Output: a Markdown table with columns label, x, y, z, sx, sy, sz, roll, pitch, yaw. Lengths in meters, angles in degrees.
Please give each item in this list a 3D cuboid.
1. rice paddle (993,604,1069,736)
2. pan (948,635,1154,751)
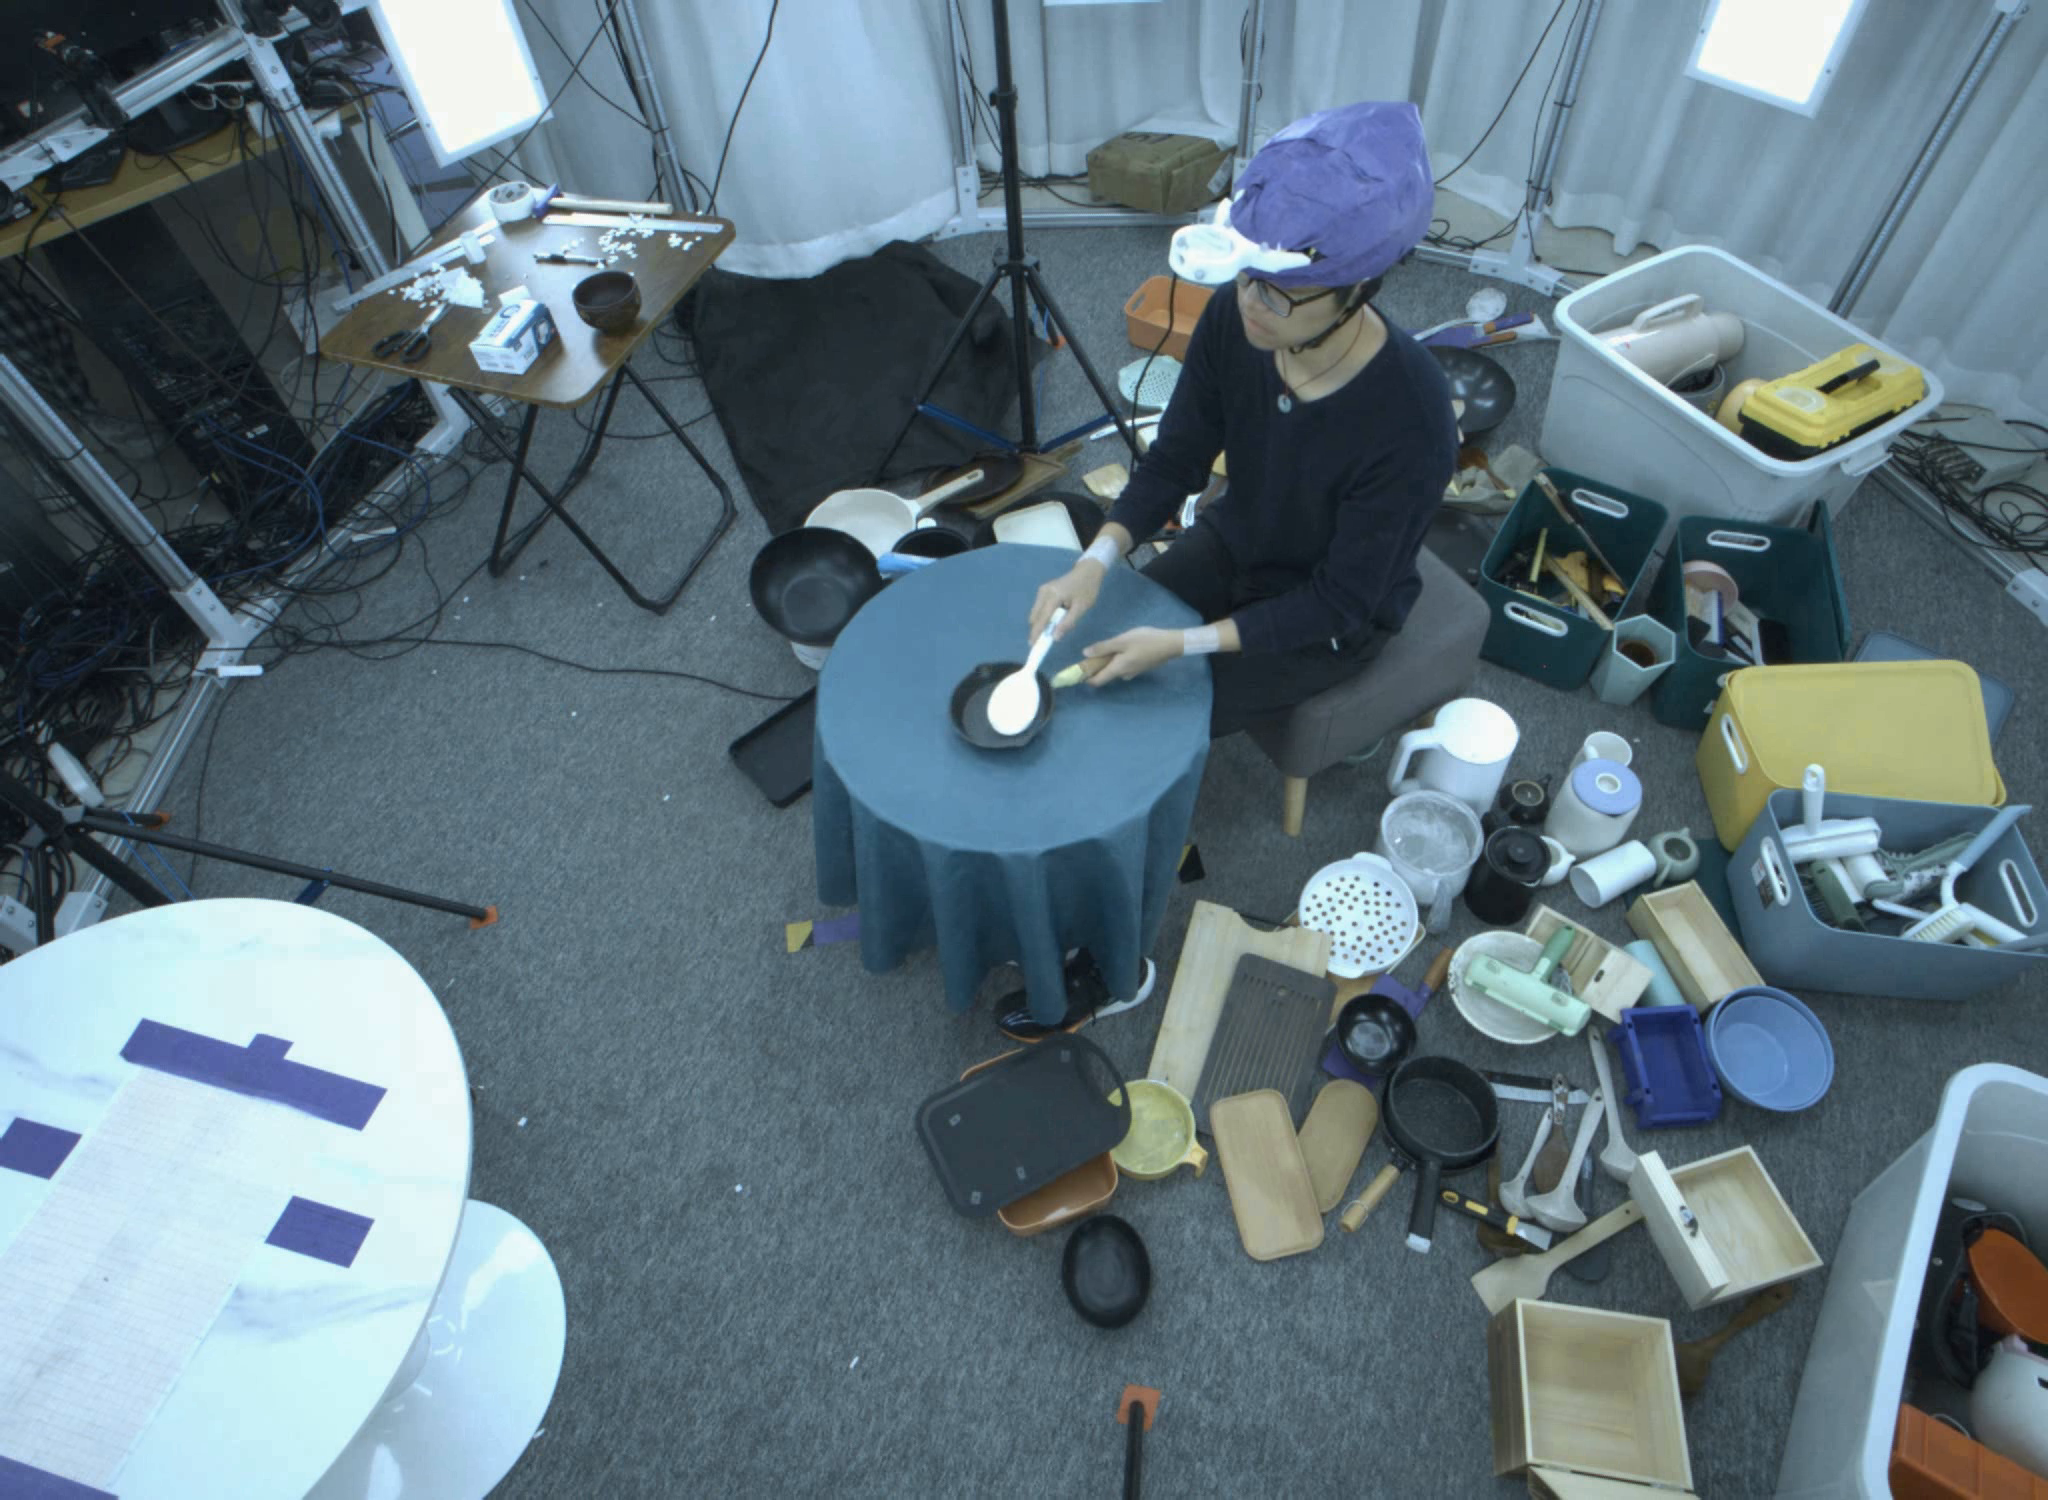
| label | x | y | z | sx | sy | sz | roll | pitch | yaw |
| --- | --- | --- | --- | --- | --- | --- | --- | --- | --- |
| rice paddle | 0.013 | -0.116 | 1.796 | 0.069 | 0.029 | 0.205 | 23 | 83 | -4 |
| pan | 0.046 | -0.096 | 1.809 | 0.325 | 0.050 | 0.166 | -22 | 56 | -6 |
